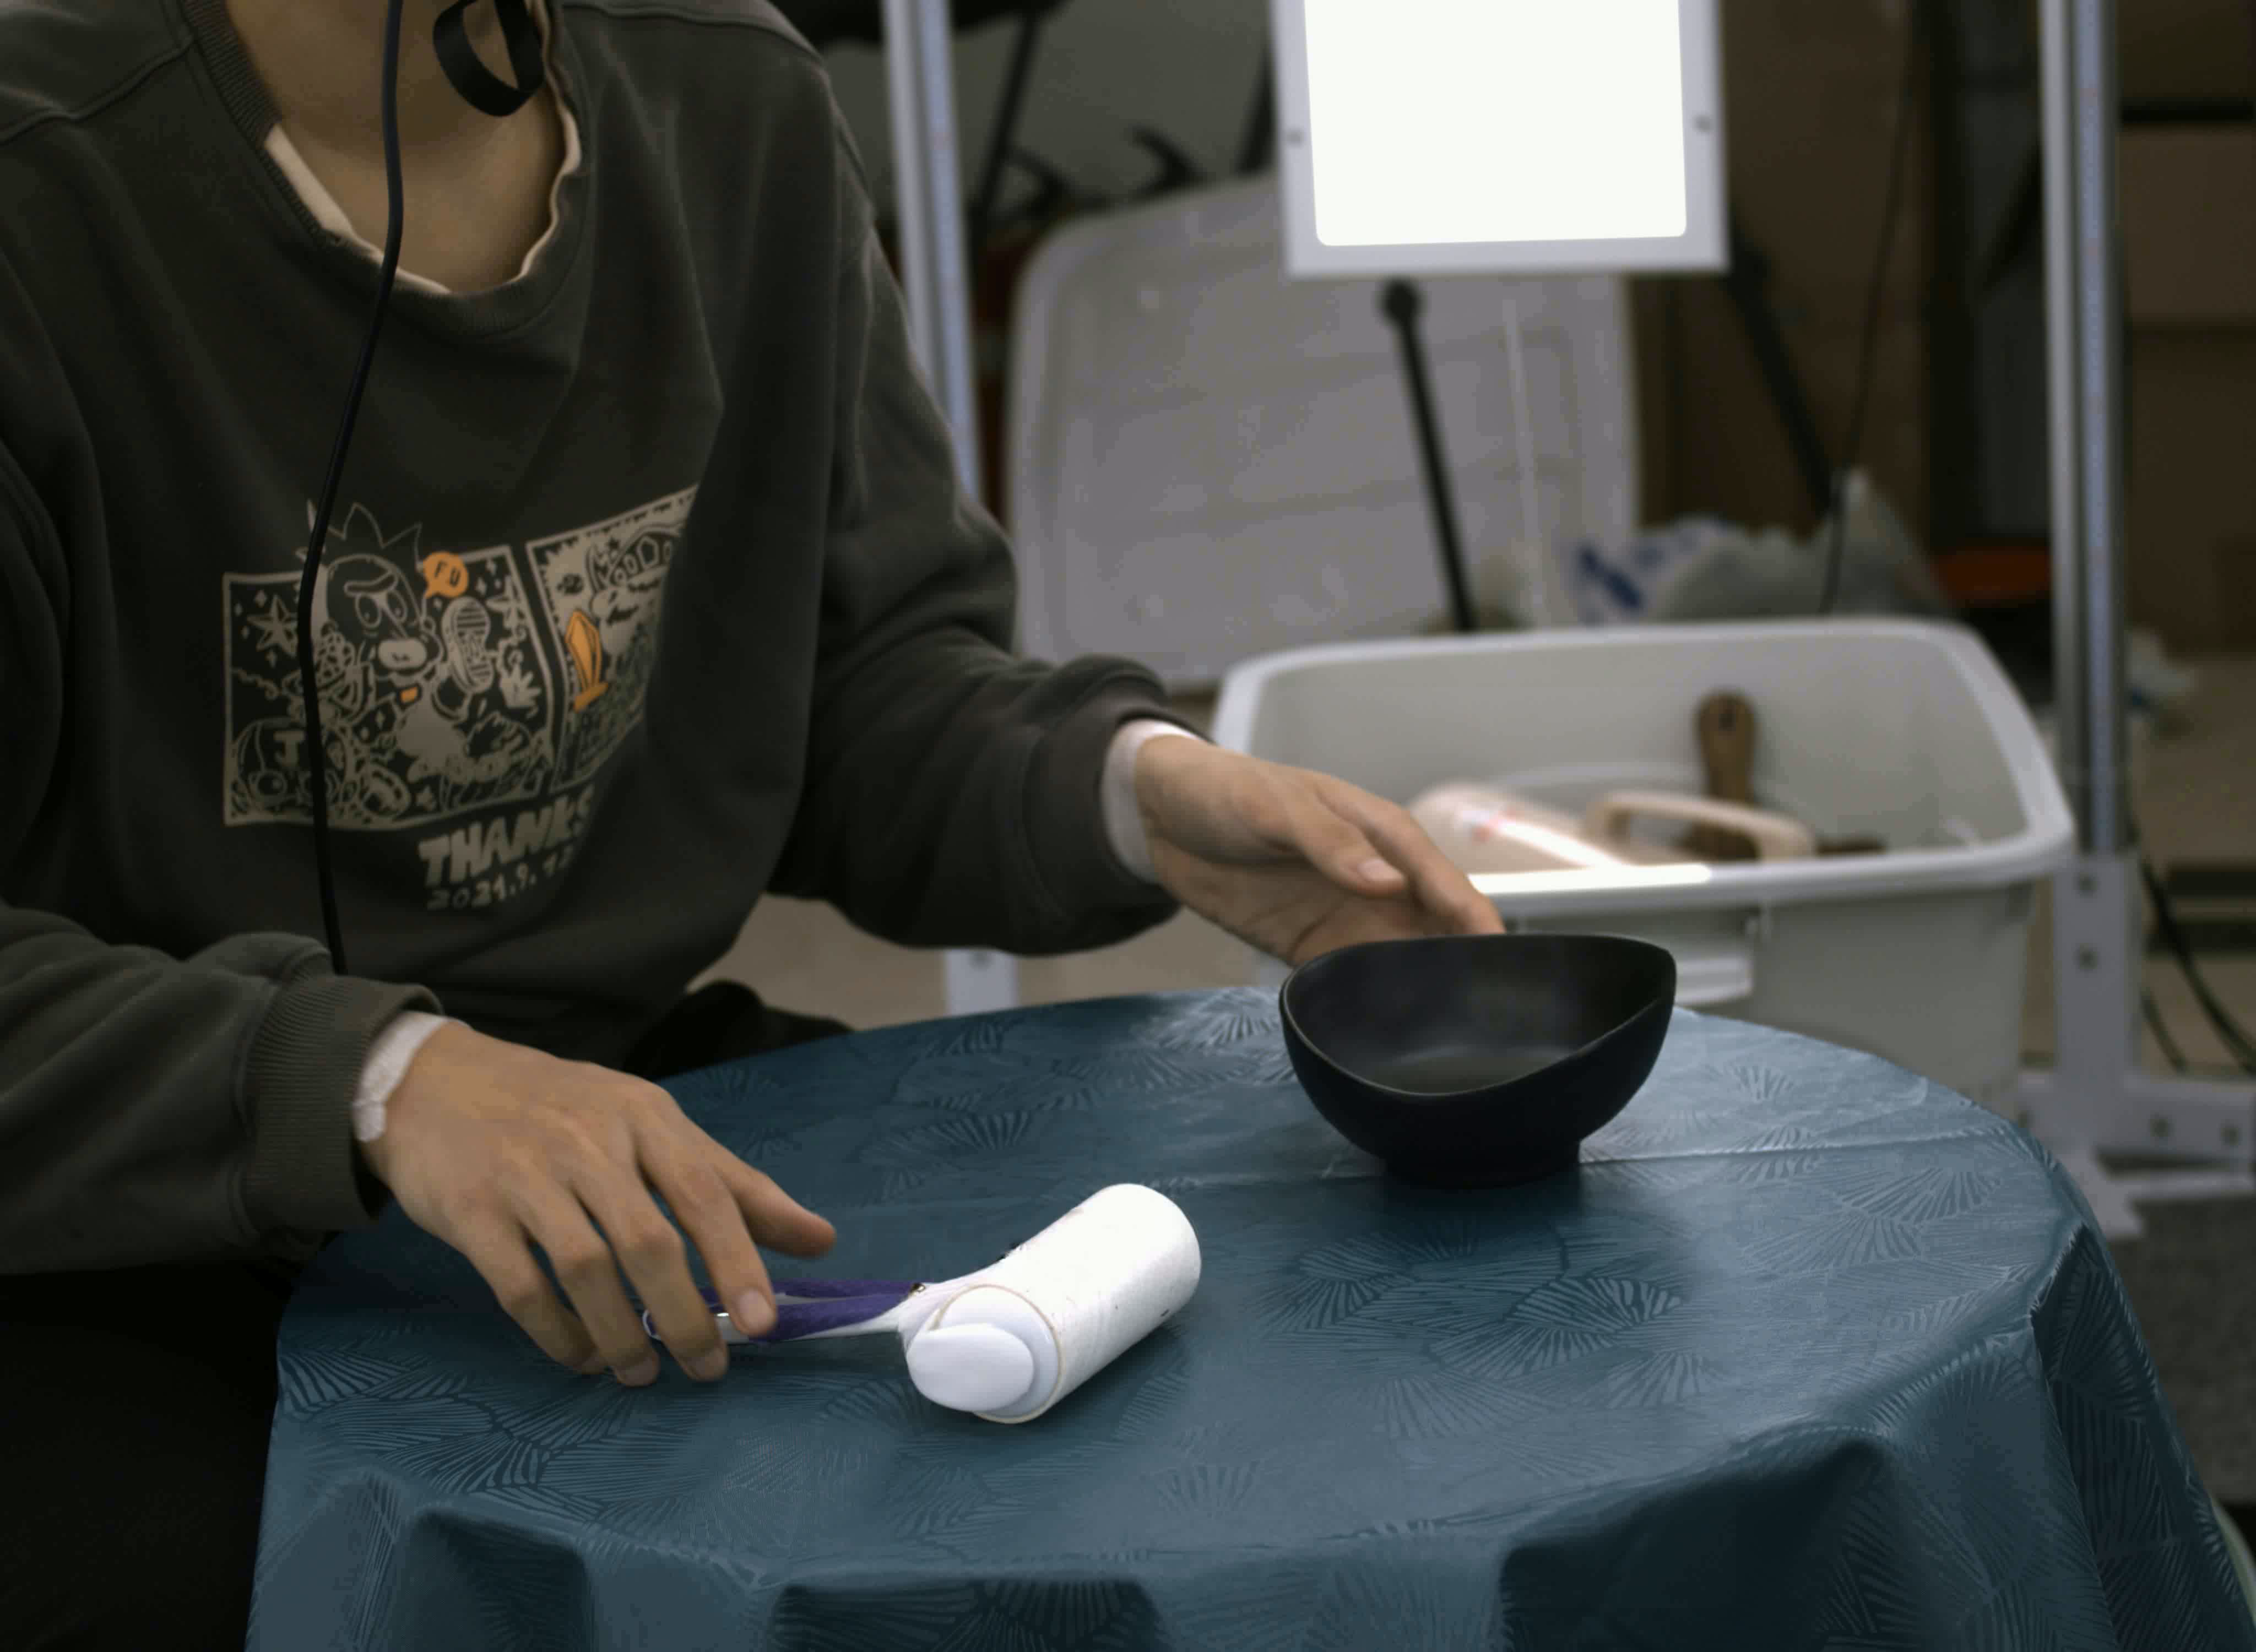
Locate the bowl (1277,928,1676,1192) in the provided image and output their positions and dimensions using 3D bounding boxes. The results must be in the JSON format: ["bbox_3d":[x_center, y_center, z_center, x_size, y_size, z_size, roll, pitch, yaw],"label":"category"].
[{"bbox_3d":[0.122,0.084,1.892,0.138,0.067,0.168,-3,16,13],"label":"bowl"}]

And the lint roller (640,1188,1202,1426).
[{"bbox_3d":[-0.076,0.144,1.752,0.184,0.050,0.130,6,18,29],"label":"lint roller"}]
